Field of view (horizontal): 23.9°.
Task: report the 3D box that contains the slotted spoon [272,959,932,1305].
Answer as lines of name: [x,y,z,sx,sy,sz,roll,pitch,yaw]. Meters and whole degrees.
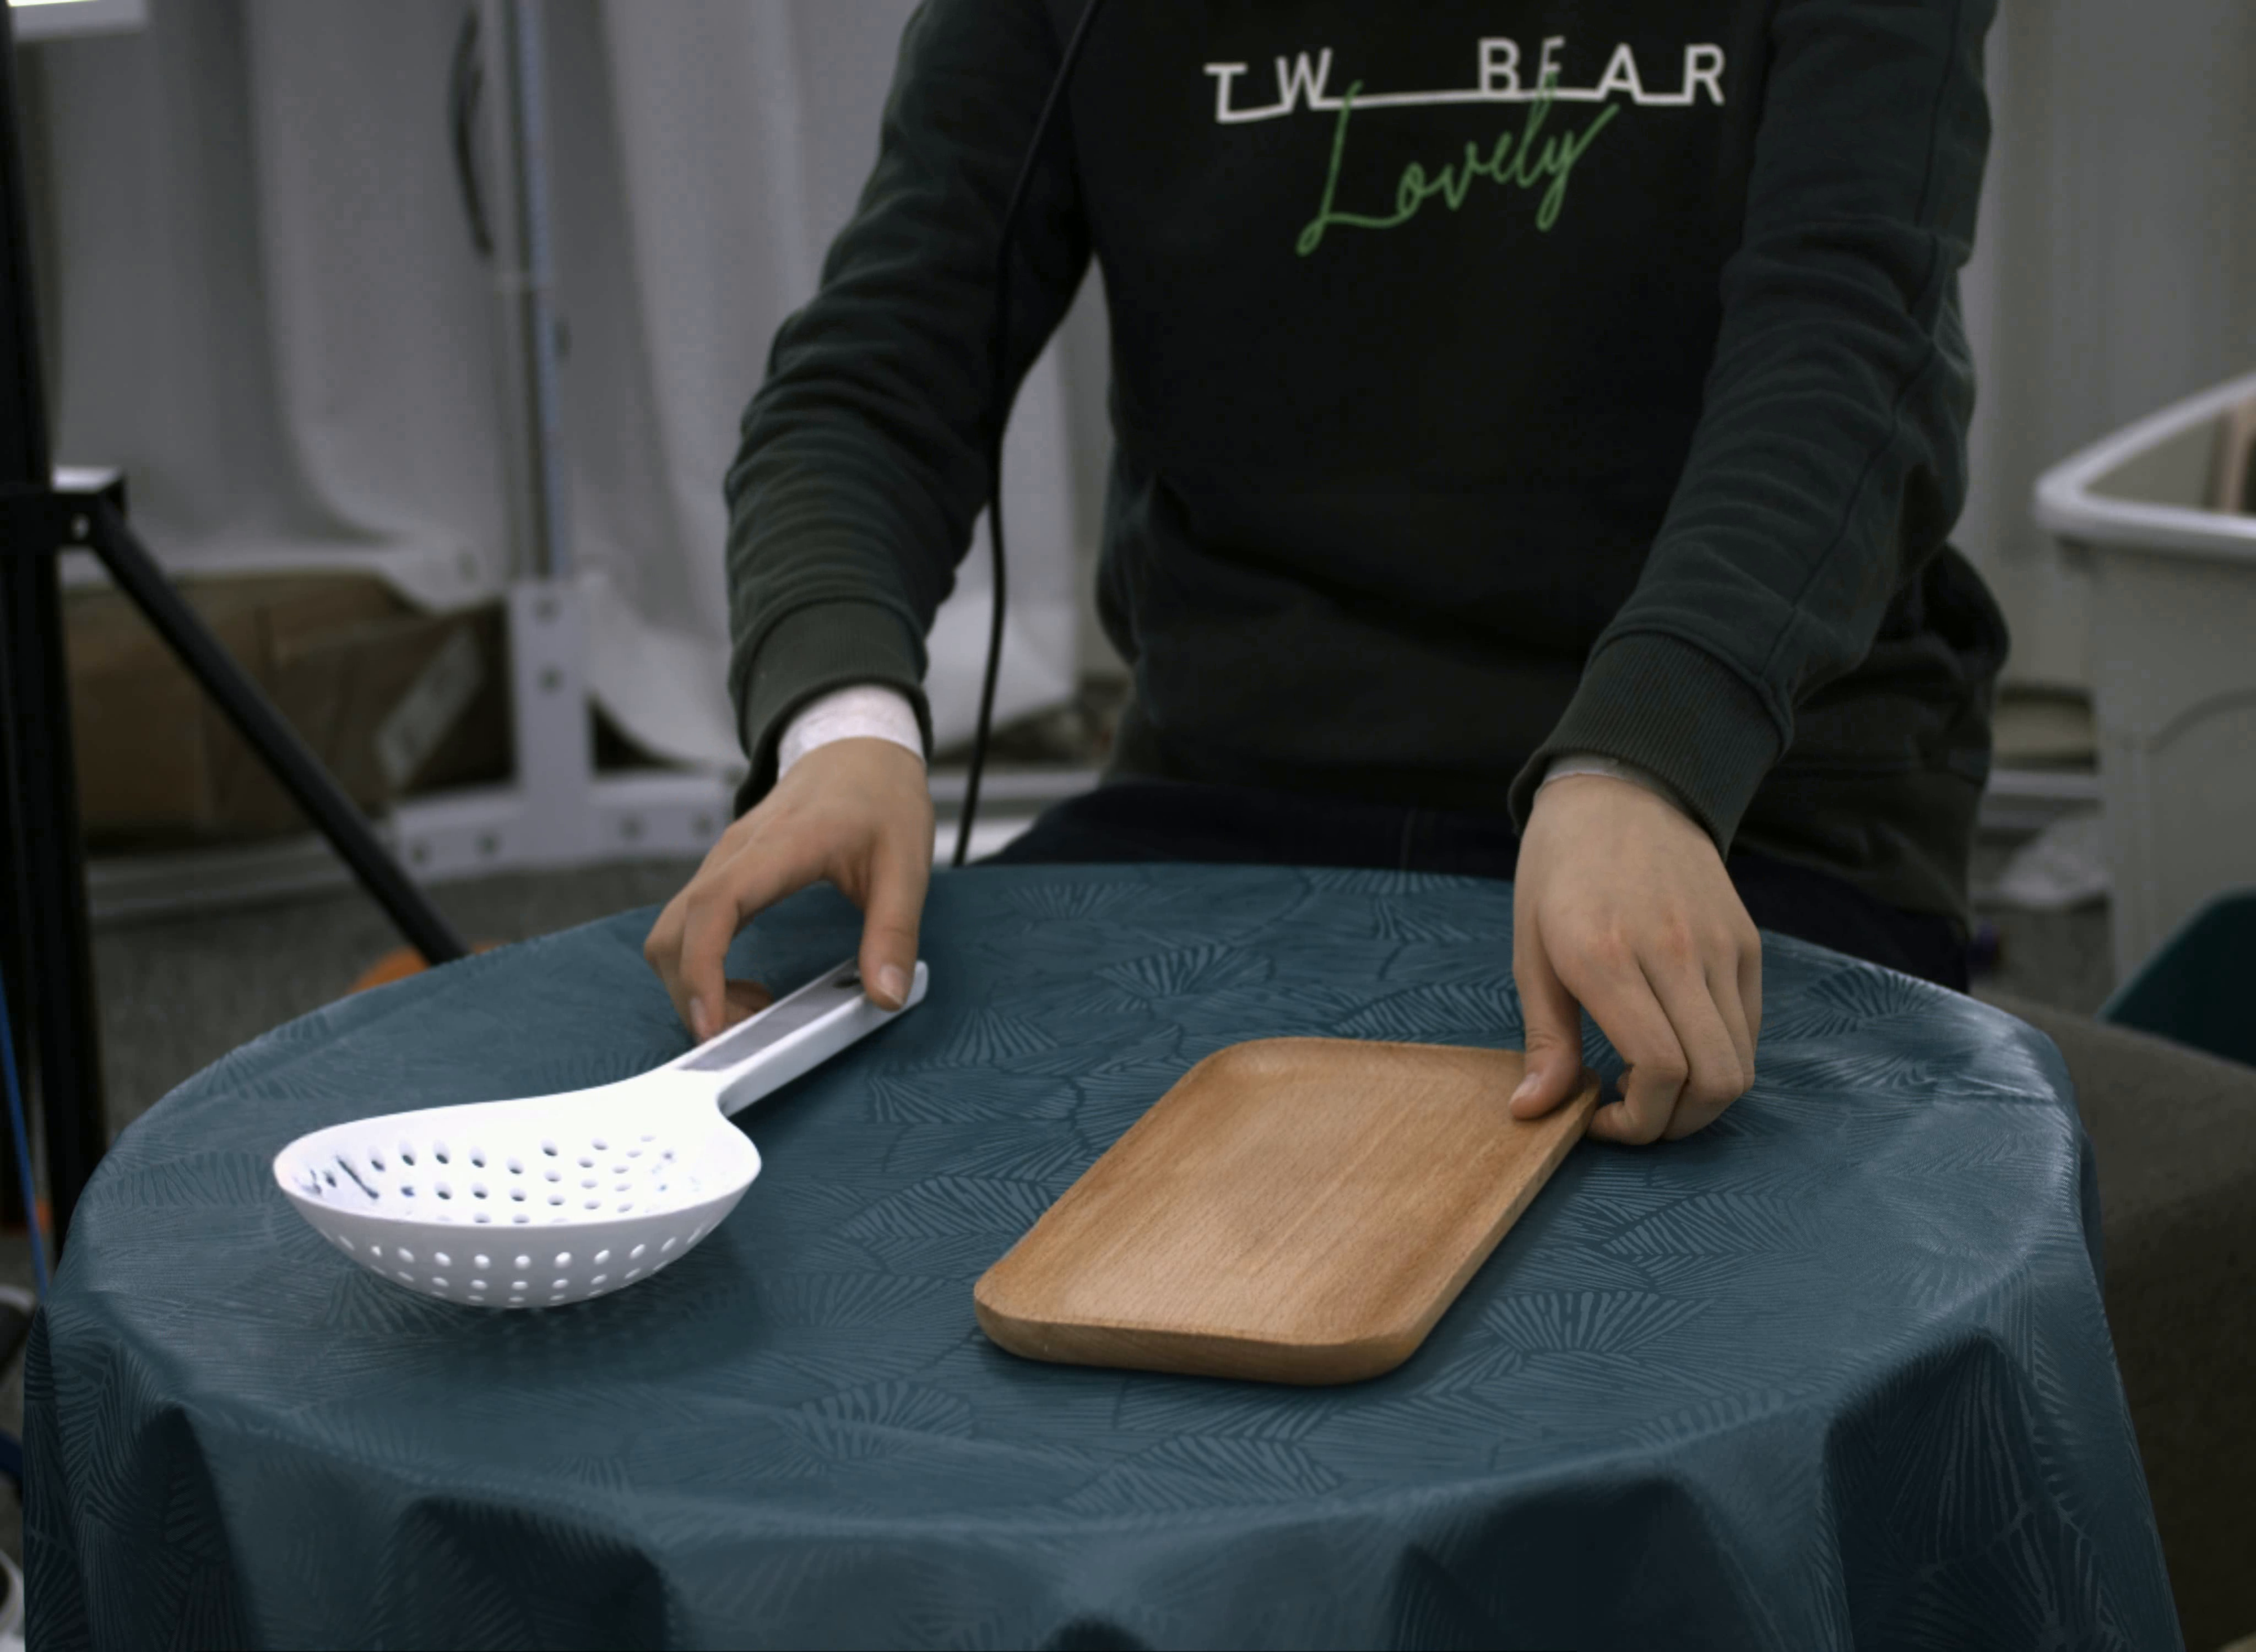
slotted spoon: [-0.135,0.082,1.590,0.137,0.046,0.345,5,17,19]

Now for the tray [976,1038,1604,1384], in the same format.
tray: [0.051,0.107,1.521,0.132,0.023,0.248,5,16,19]
